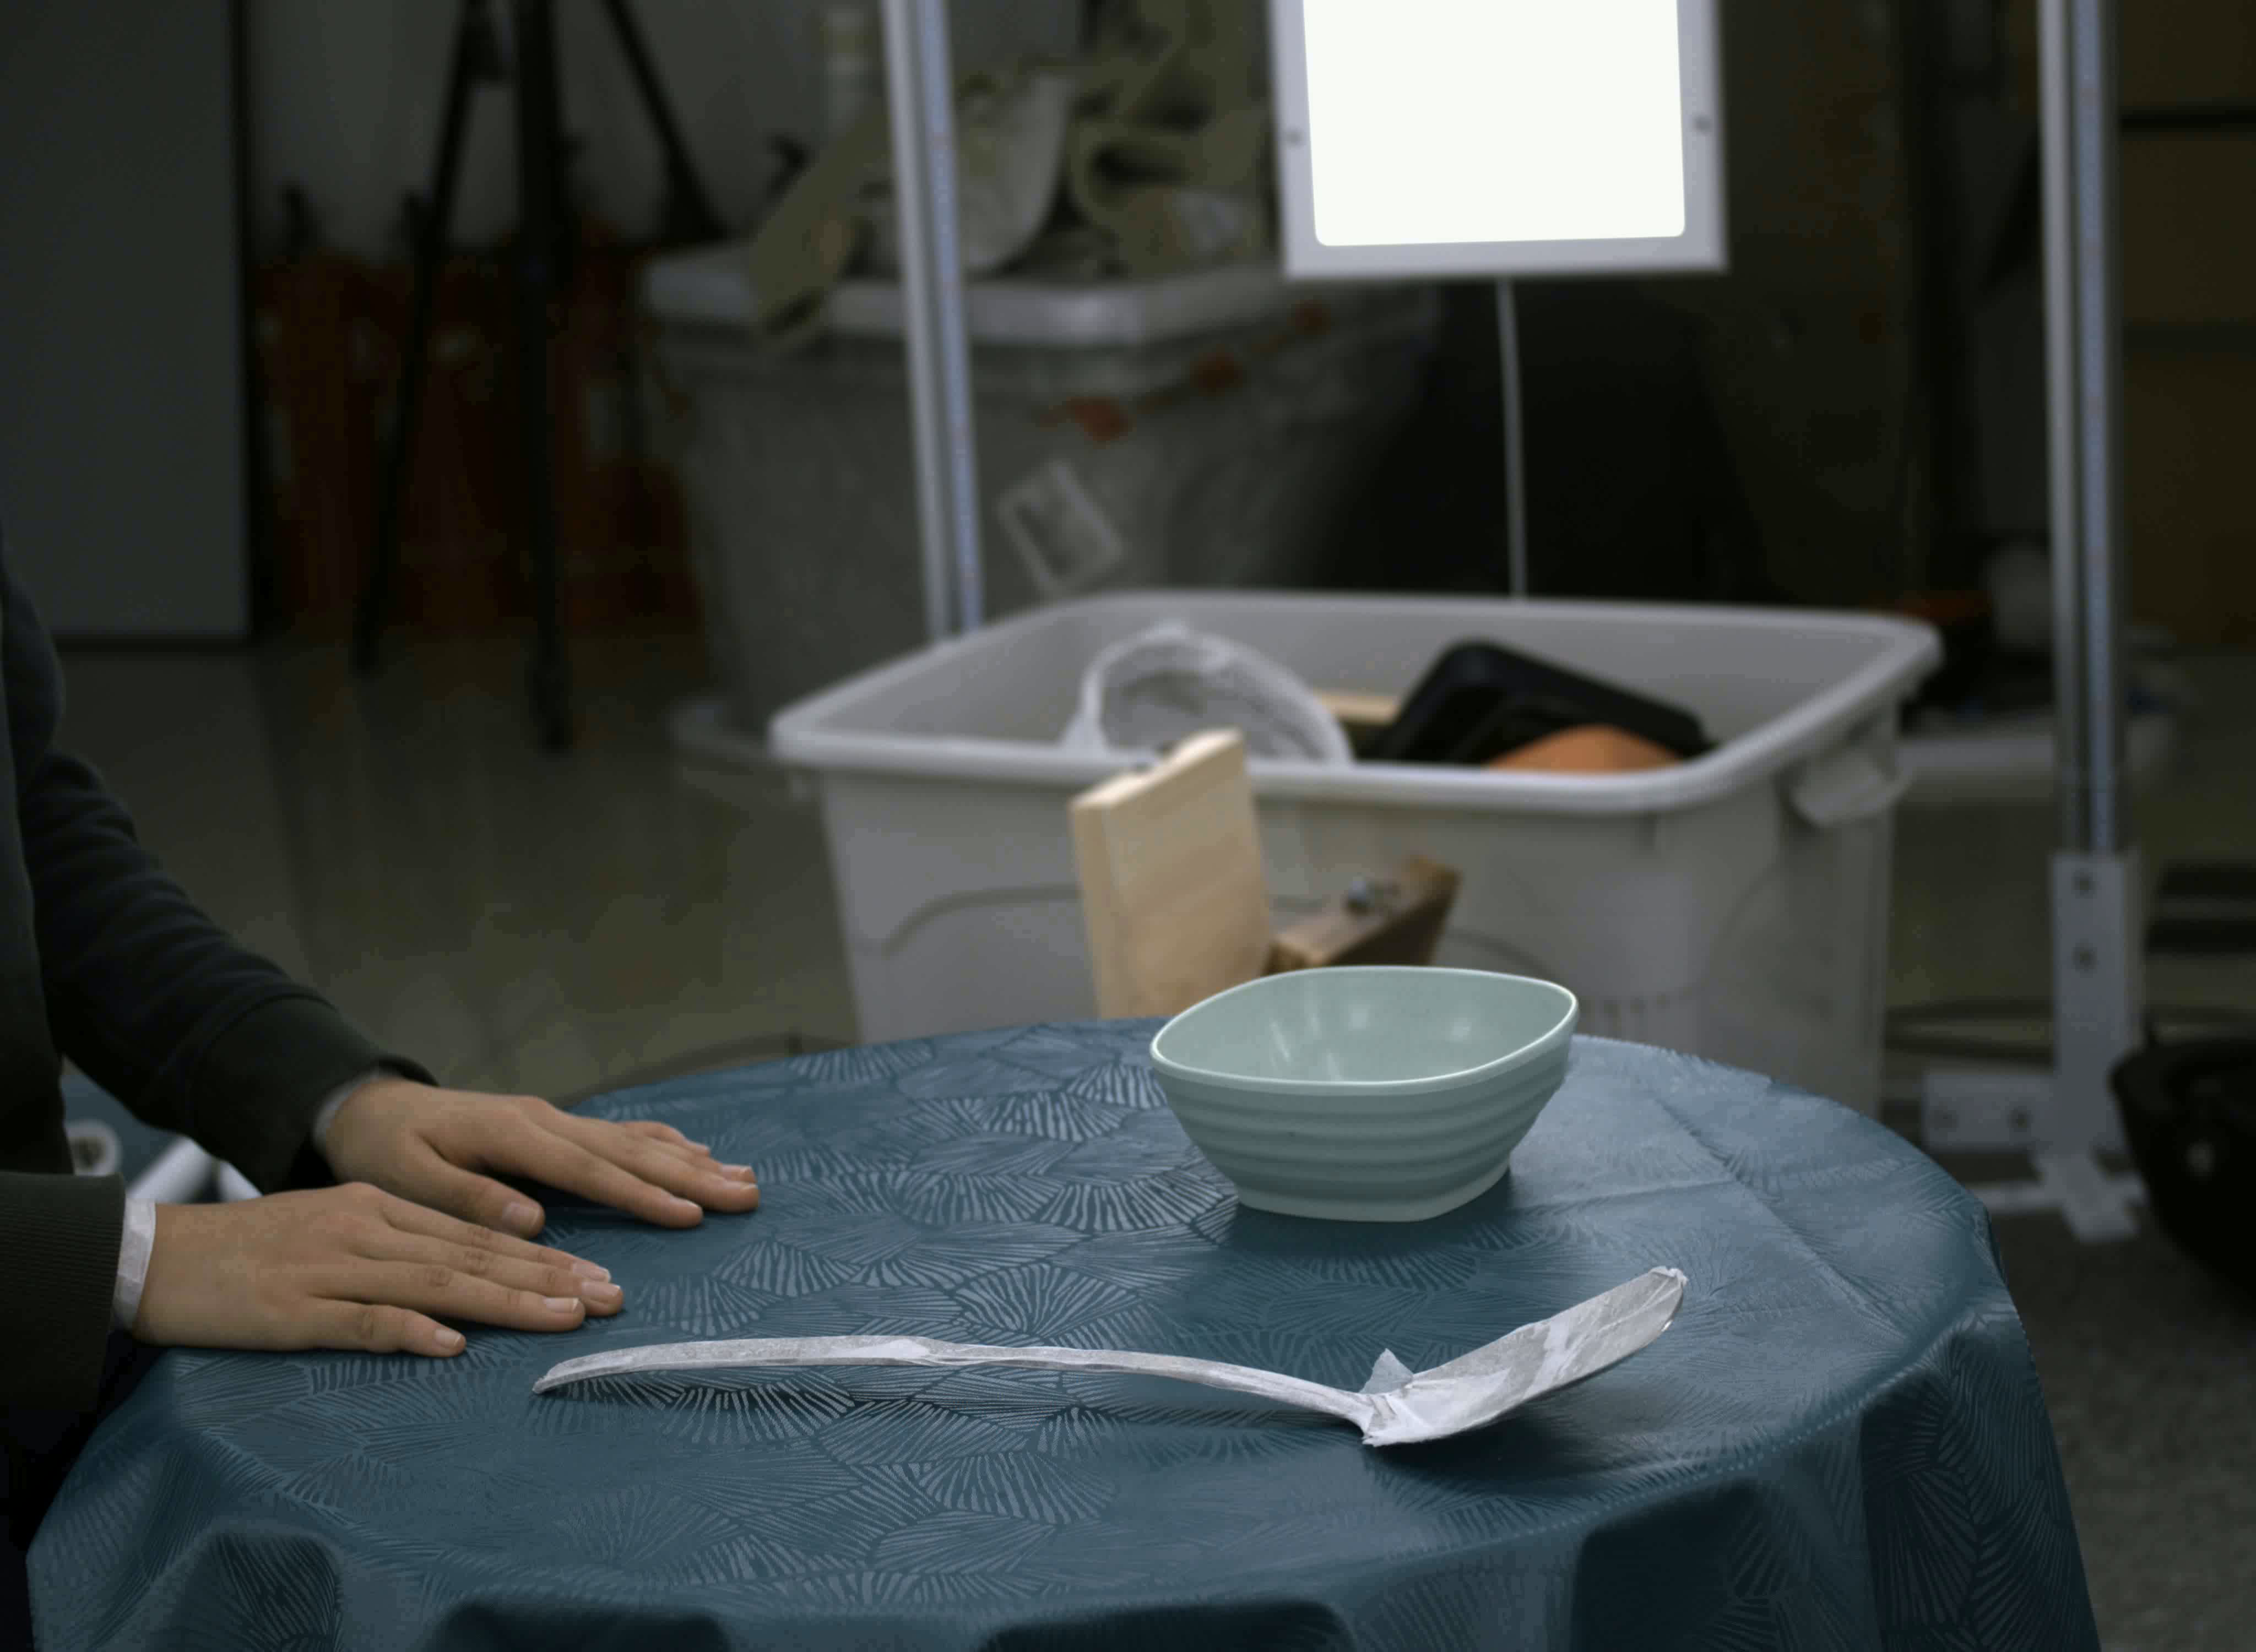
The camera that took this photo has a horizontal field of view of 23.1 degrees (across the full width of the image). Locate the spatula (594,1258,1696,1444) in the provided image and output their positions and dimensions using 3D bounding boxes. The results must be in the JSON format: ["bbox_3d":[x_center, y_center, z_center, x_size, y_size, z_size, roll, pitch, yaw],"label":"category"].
[{"bbox_3d":[-0.006,0.159,1.685,0.370,0.045,0.097,1,17,22],"label":"spatula"}]

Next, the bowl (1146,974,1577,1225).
[{"bbox_3d":[0.081,0.096,1.877,0.151,0.059,0.151,-2,12,-1],"label":"bowl"}]
